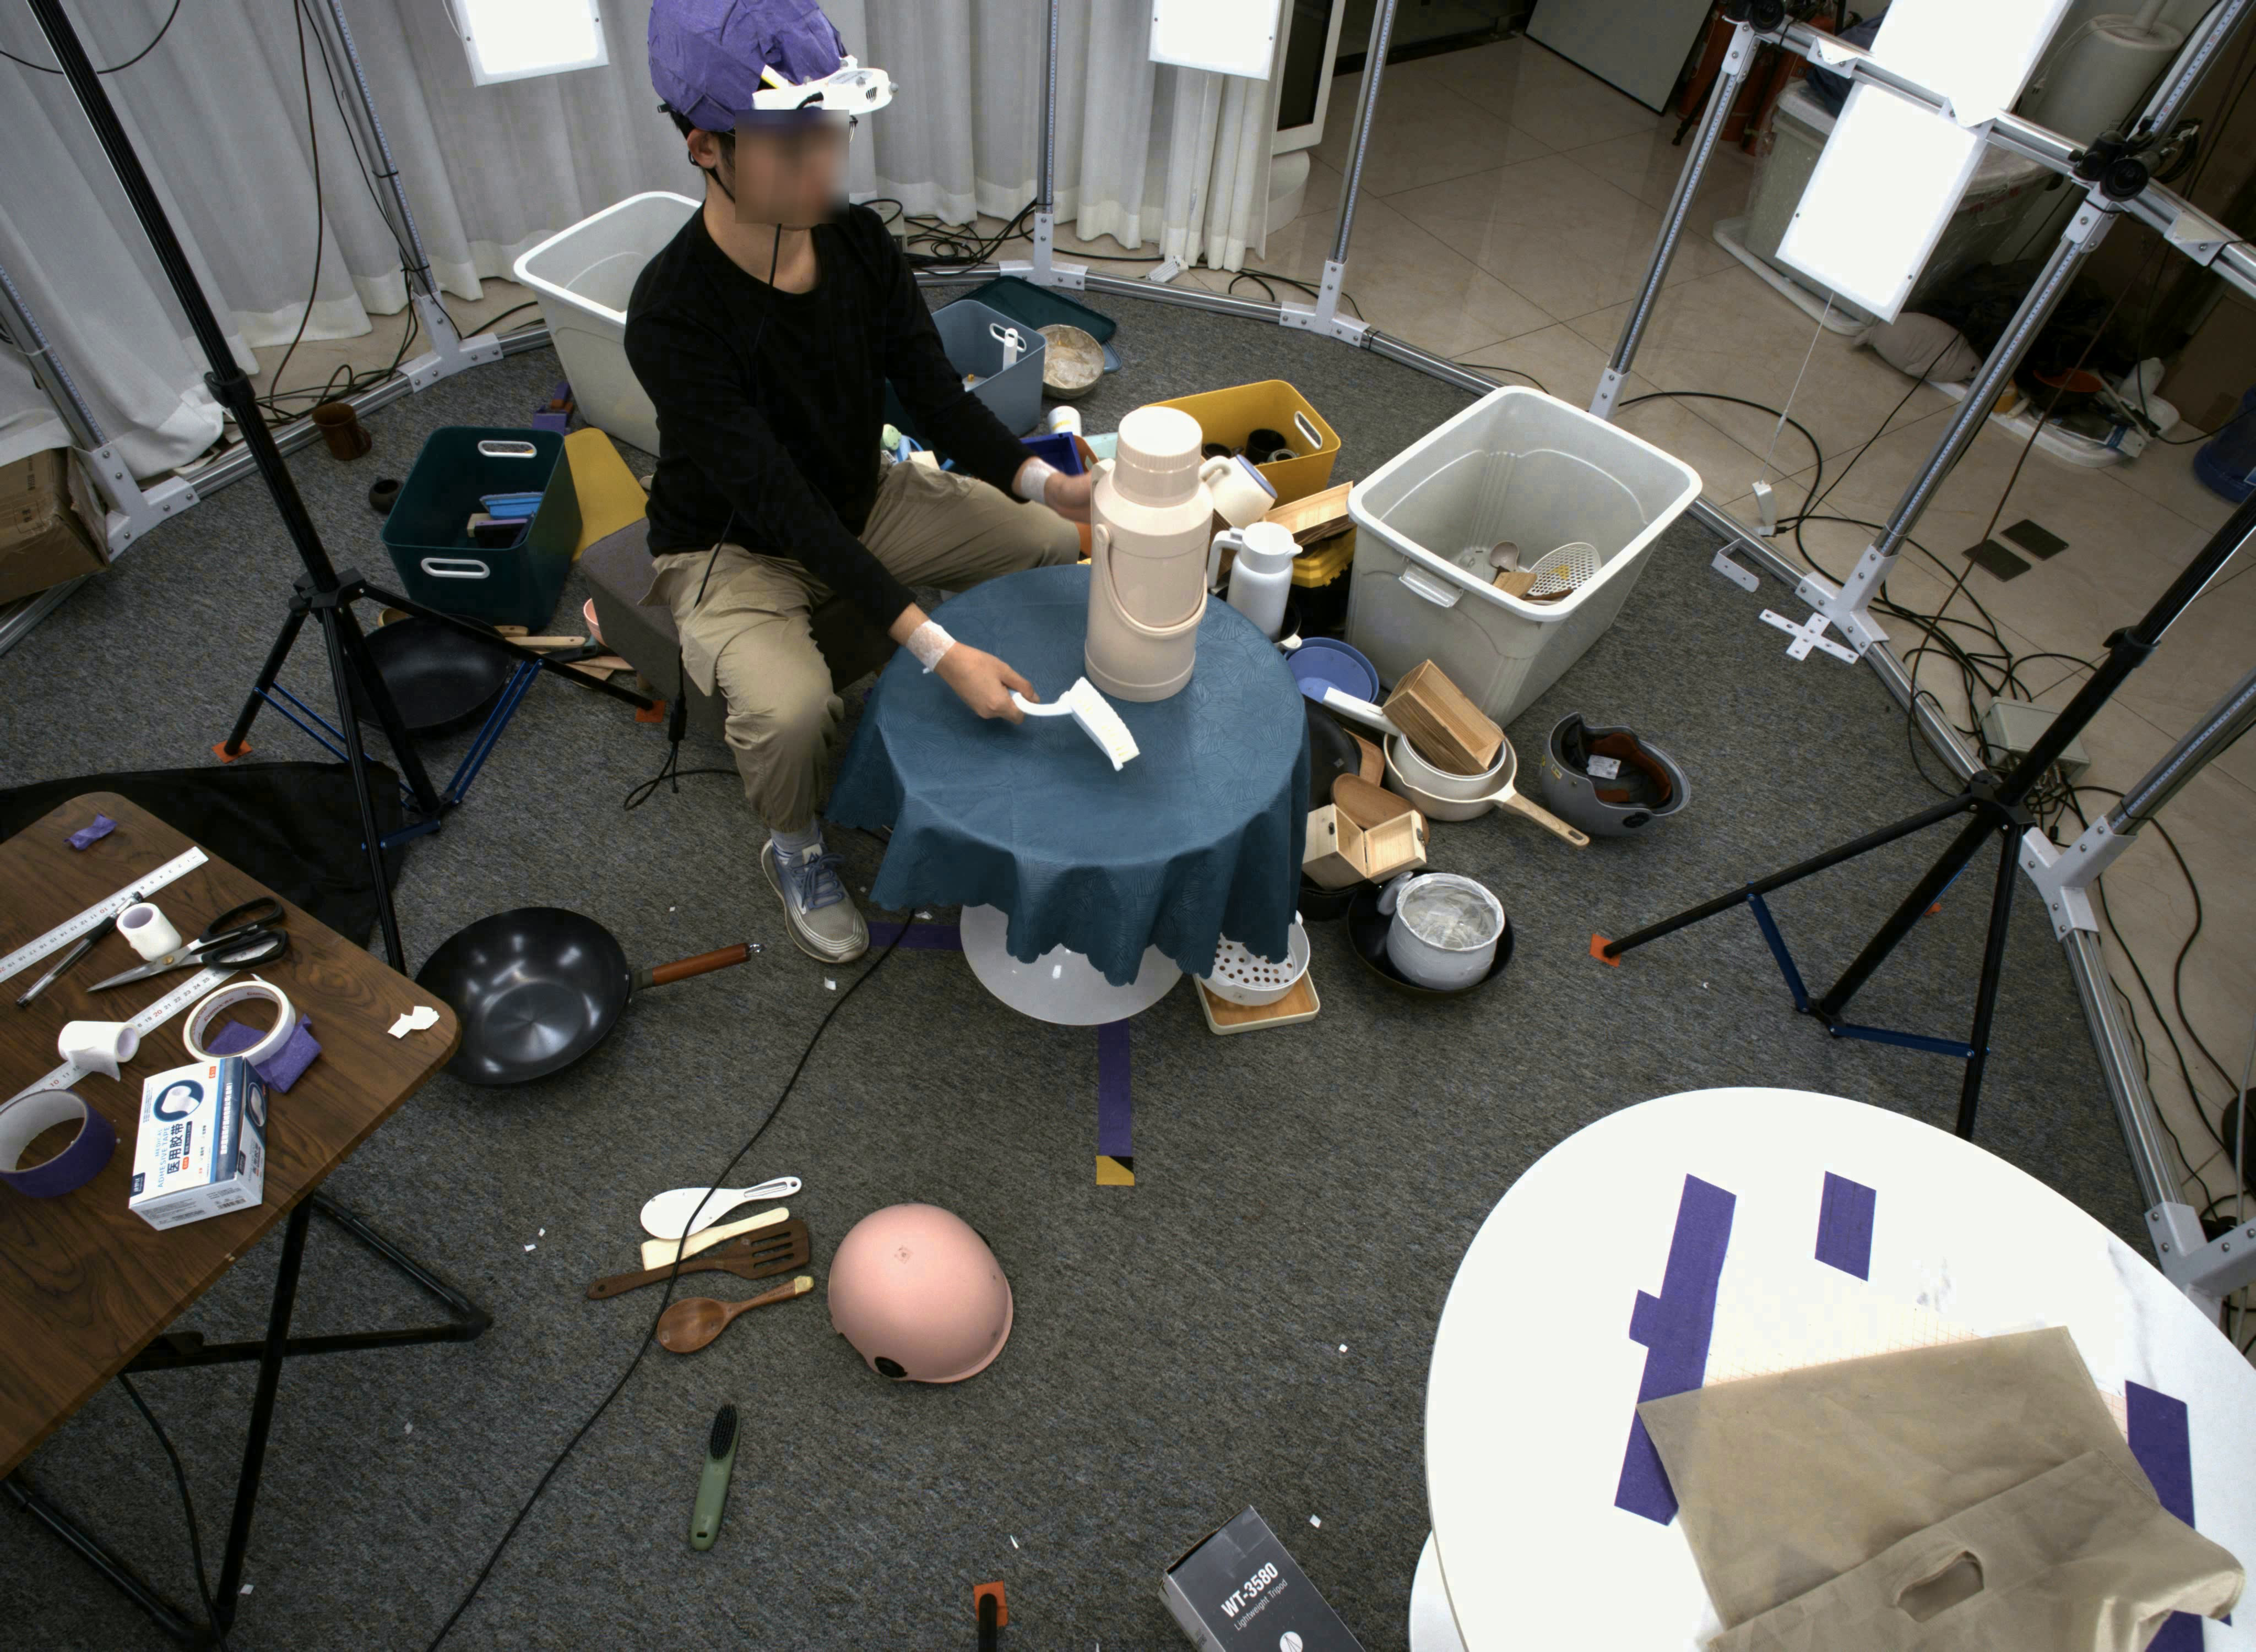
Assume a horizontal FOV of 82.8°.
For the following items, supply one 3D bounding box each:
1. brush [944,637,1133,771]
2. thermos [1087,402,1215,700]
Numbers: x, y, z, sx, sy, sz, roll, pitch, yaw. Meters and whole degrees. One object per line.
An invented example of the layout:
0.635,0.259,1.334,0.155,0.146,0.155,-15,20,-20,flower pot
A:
-0.114,-0.191,1.735,0.330,0.081,0.085,37,42,23,brush
0.021,-0.373,1.739,0.176,0.396,0.211,-31,58,-25,thermos
